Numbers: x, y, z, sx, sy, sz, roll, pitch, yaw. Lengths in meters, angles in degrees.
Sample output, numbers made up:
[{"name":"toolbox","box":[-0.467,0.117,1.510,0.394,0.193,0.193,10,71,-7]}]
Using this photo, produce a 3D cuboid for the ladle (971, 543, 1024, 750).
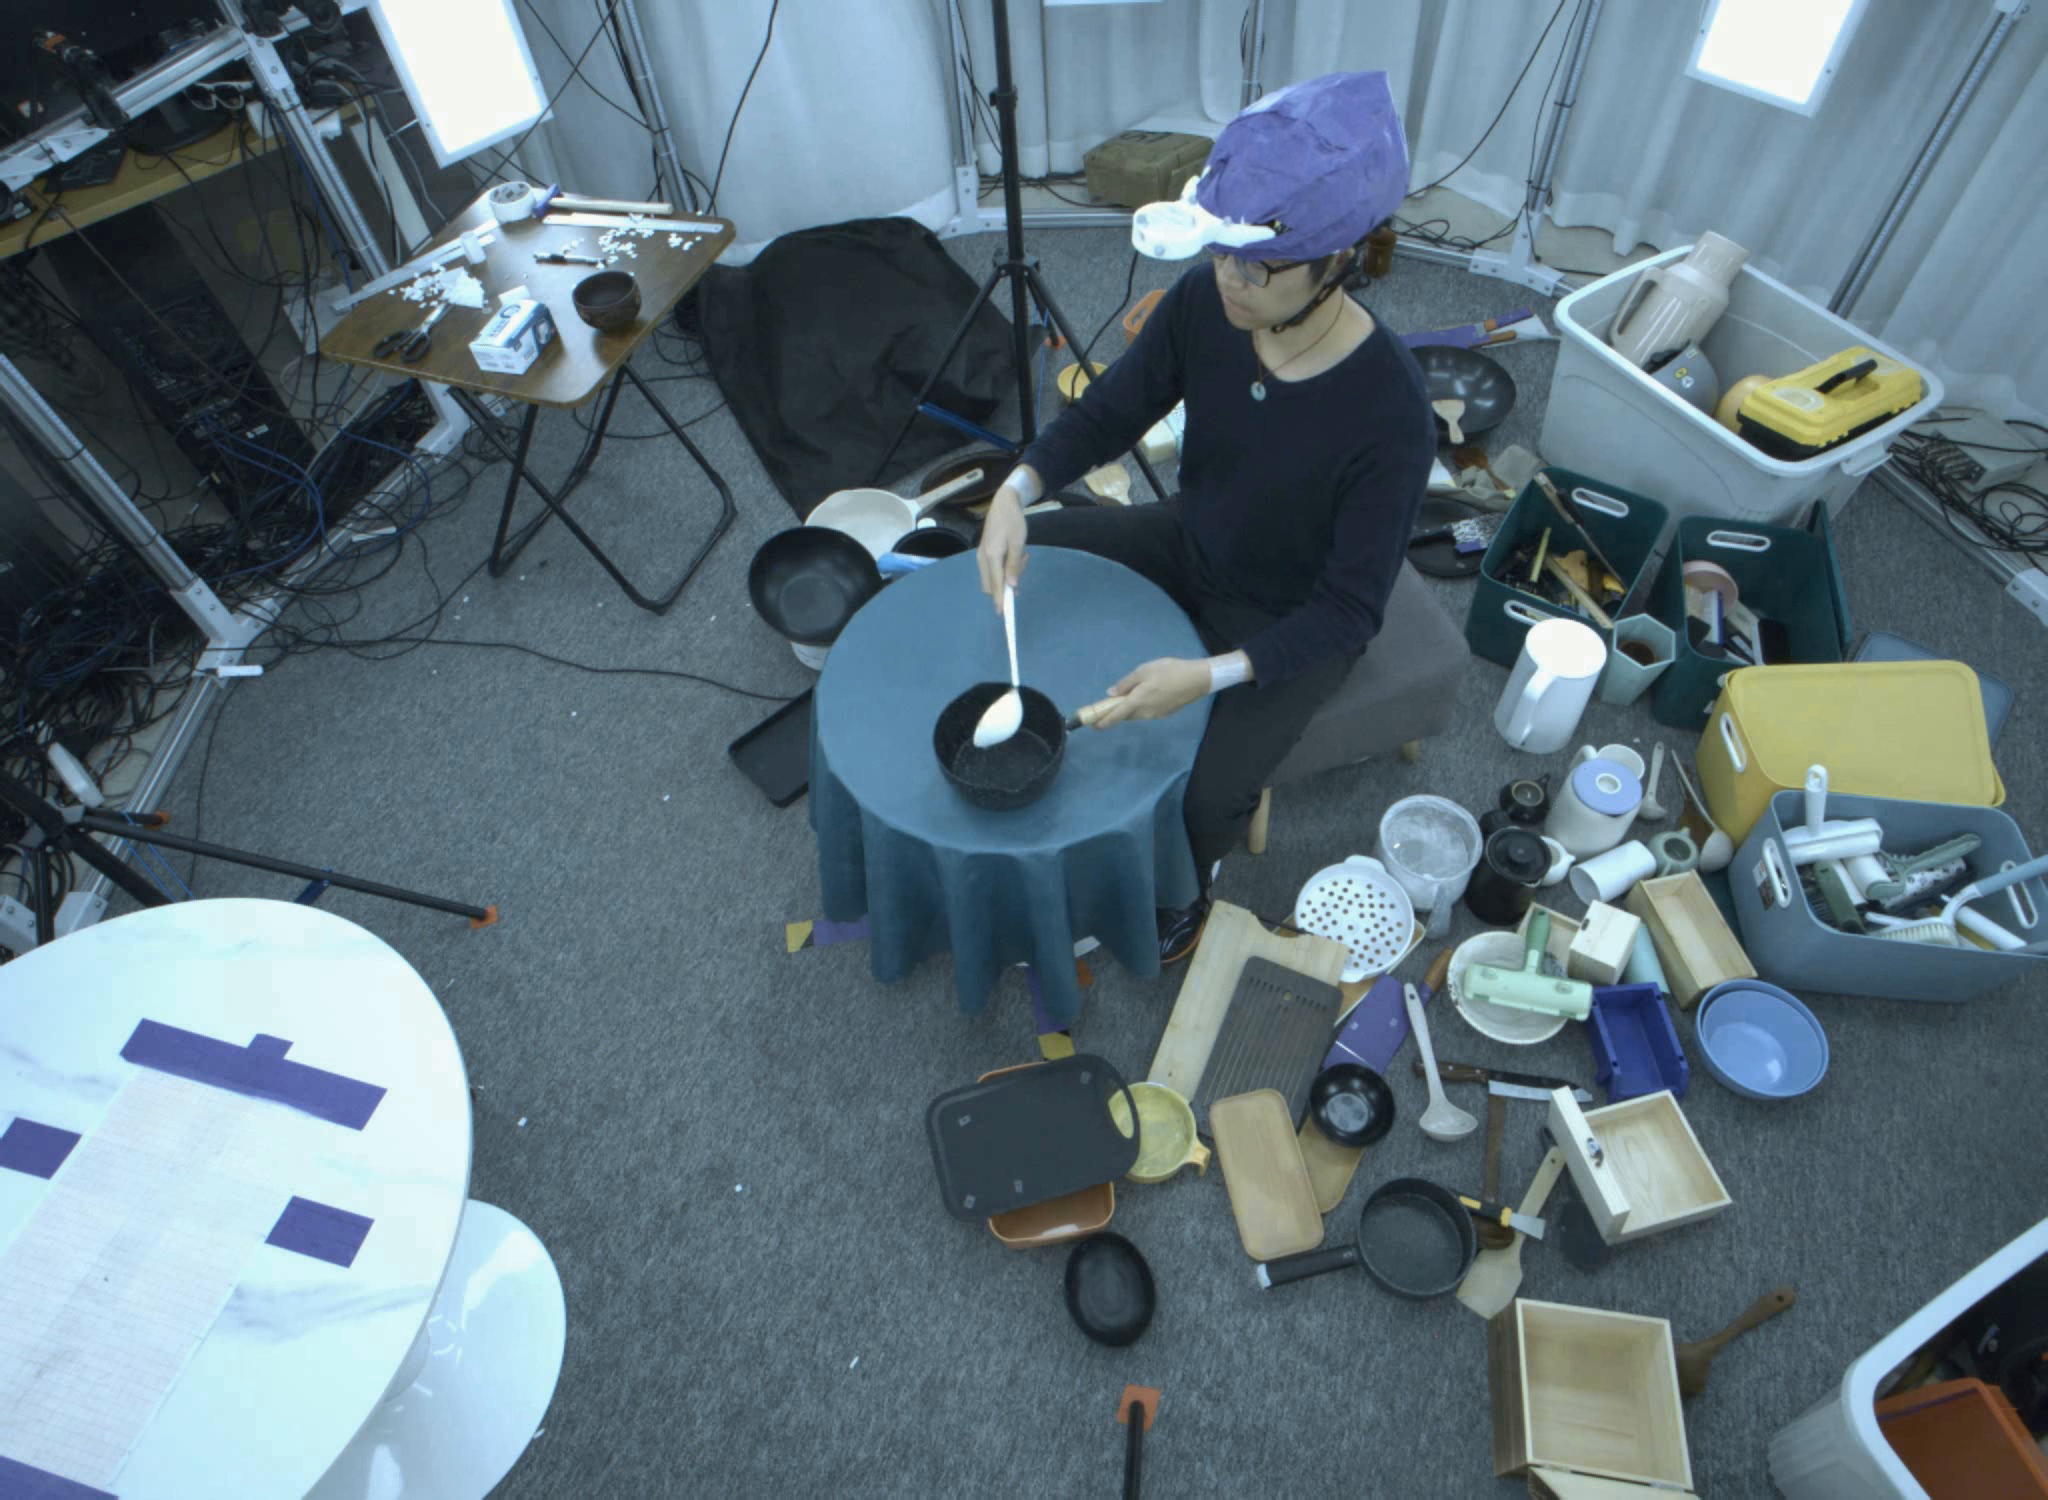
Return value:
[{"name":"ladle","box":[-0.034,-0.145,1.705,0.069,0.091,0.291,-4,77,15]}]

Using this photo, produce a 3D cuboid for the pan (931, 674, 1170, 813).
[{"name":"pan","box":[0.042,-0.026,1.735,0.344,0.109,0.204,-17,55,-6]}]
